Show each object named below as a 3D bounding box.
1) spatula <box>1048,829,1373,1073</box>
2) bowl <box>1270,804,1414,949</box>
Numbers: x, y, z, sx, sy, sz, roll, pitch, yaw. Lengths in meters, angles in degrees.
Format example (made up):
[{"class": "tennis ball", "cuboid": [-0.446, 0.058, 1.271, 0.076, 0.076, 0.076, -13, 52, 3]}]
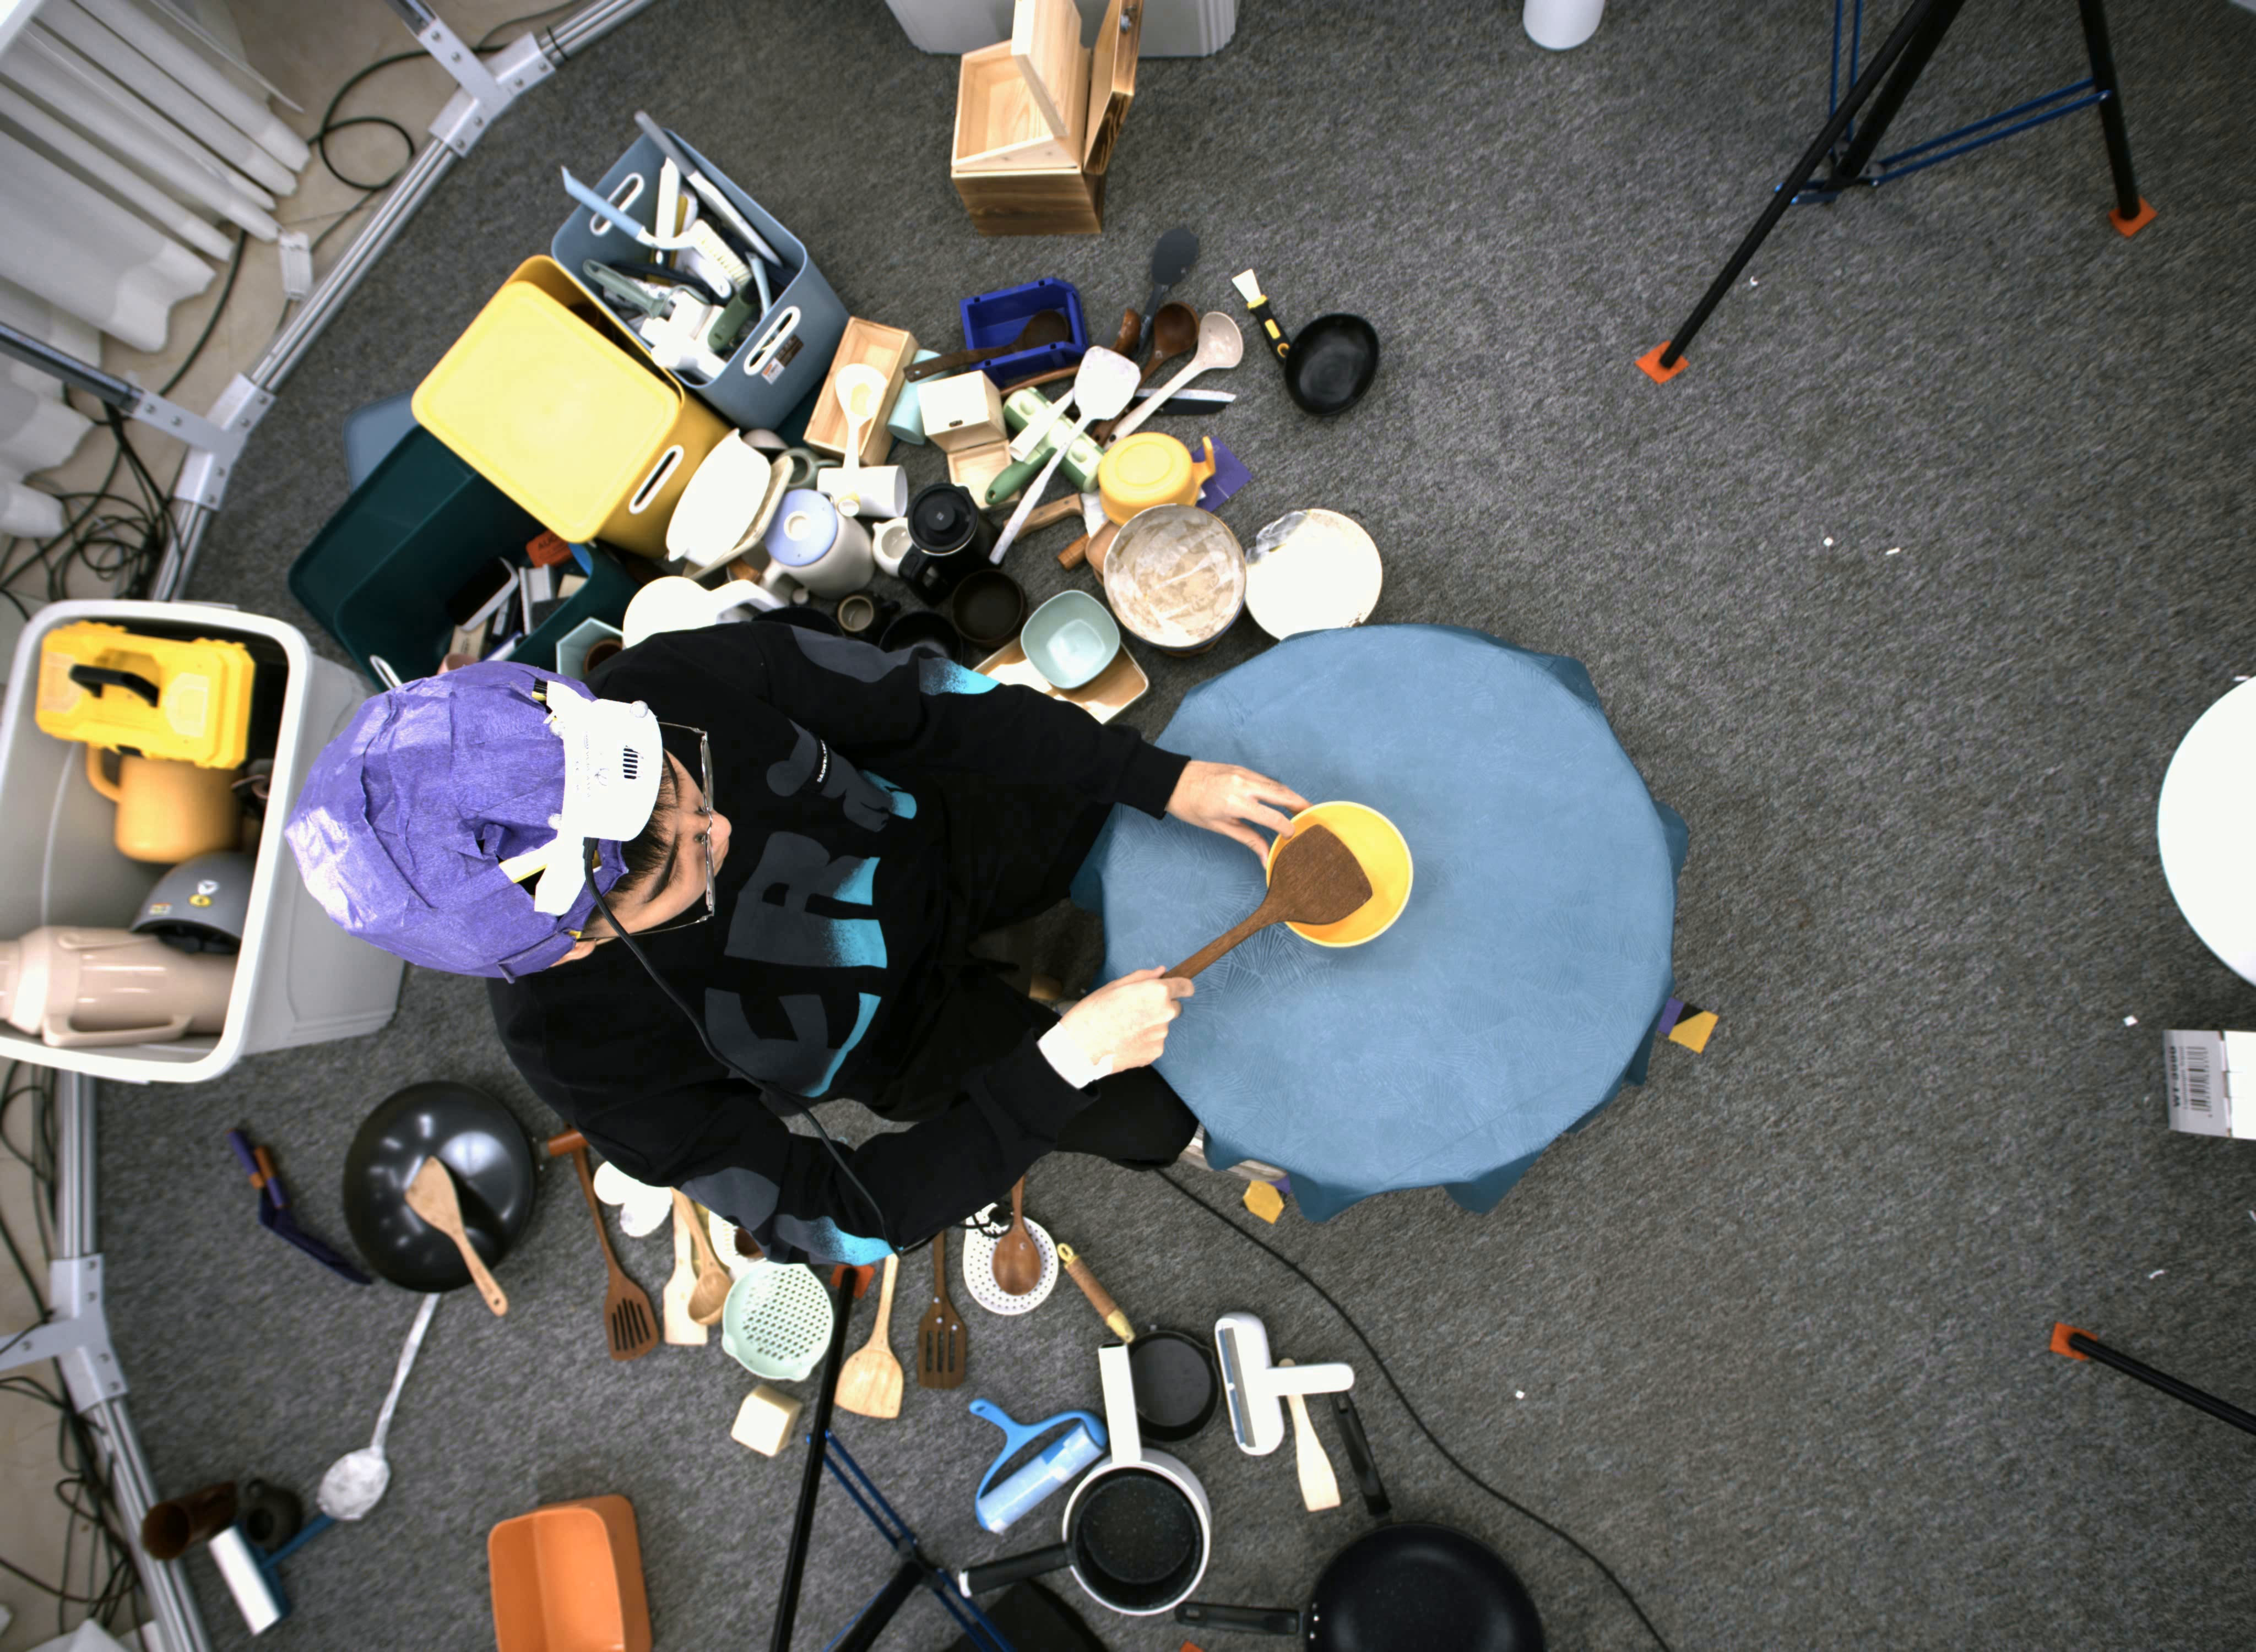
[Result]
[{"class": "spatula", "cuboid": [0.079, 0.121, 1.298, 0.380, 0.016, 0.095, -32, 81, -26]}, {"class": "bowl", "cuboid": [0.215, 0.051, 1.406, 0.146, 0.060, 0.145, 0, 90, 6]}]
